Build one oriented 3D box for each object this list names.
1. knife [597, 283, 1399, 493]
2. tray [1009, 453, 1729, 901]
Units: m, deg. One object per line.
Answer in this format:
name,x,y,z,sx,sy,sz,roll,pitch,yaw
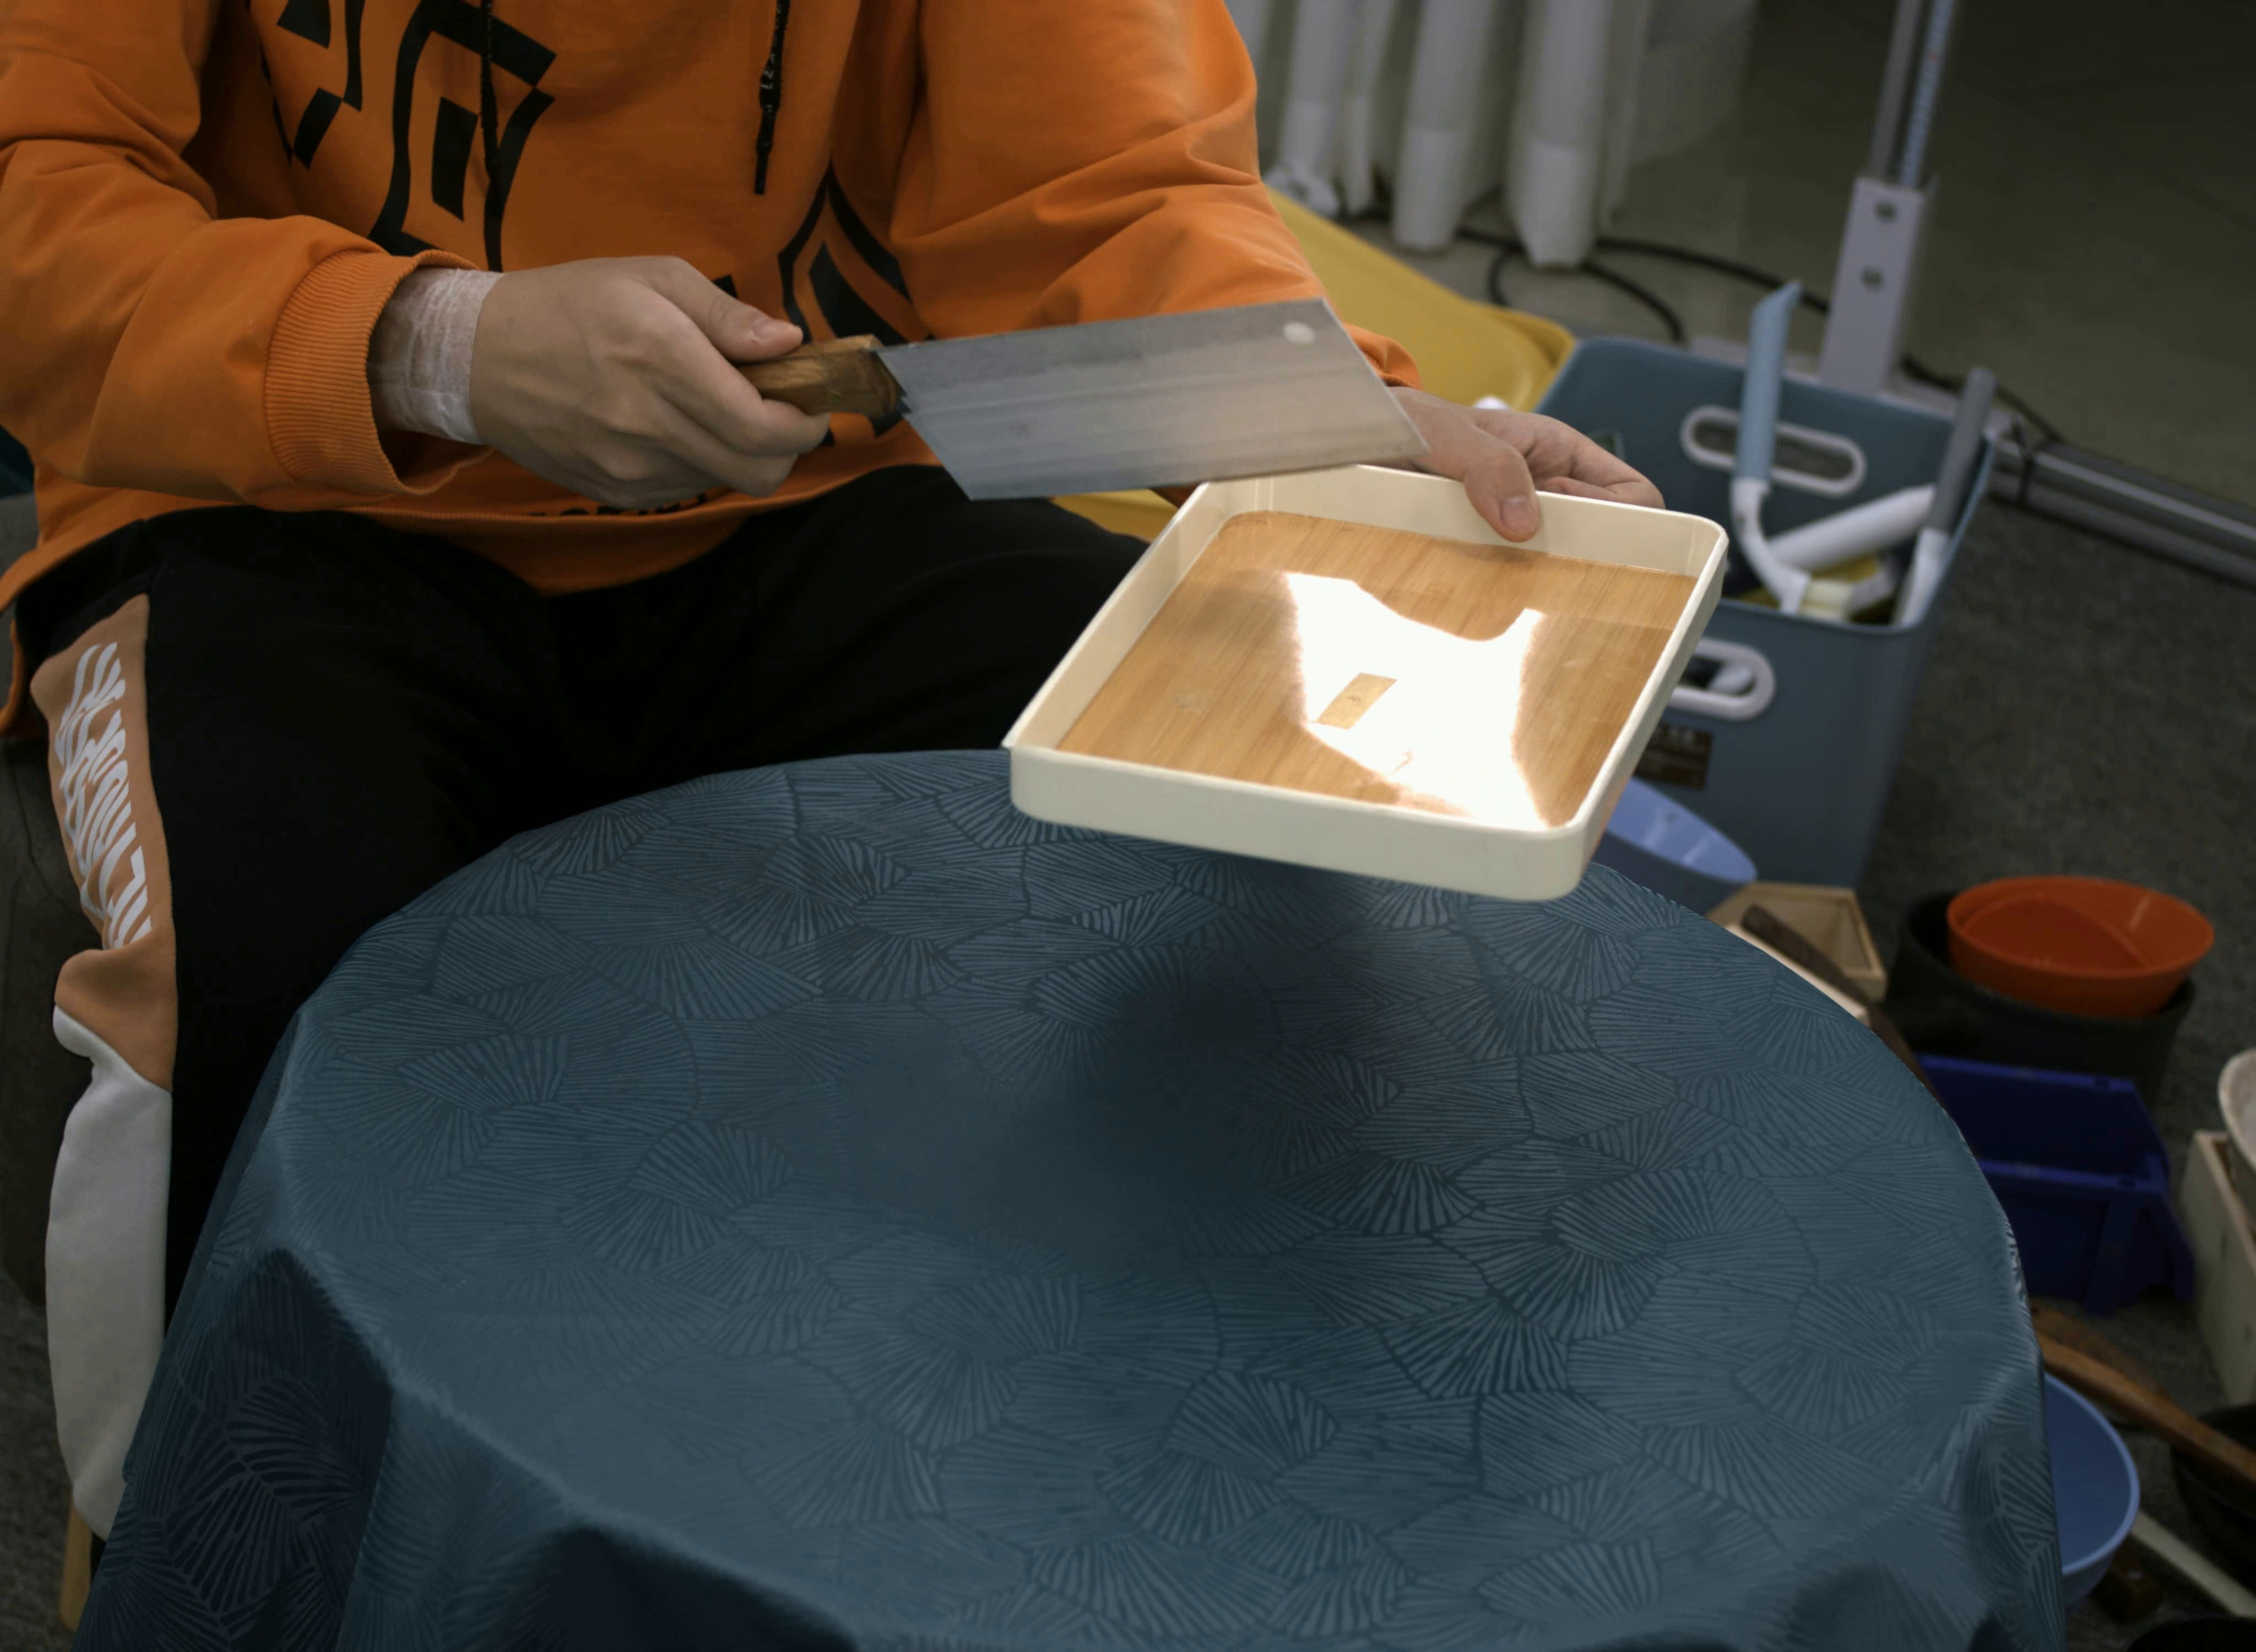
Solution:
knife,-0.046,-0.147,1.874,0.307,0.092,0.021,-4,55,32
tray,0.088,-0.056,1.813,0.192,0.027,0.301,9,25,14
